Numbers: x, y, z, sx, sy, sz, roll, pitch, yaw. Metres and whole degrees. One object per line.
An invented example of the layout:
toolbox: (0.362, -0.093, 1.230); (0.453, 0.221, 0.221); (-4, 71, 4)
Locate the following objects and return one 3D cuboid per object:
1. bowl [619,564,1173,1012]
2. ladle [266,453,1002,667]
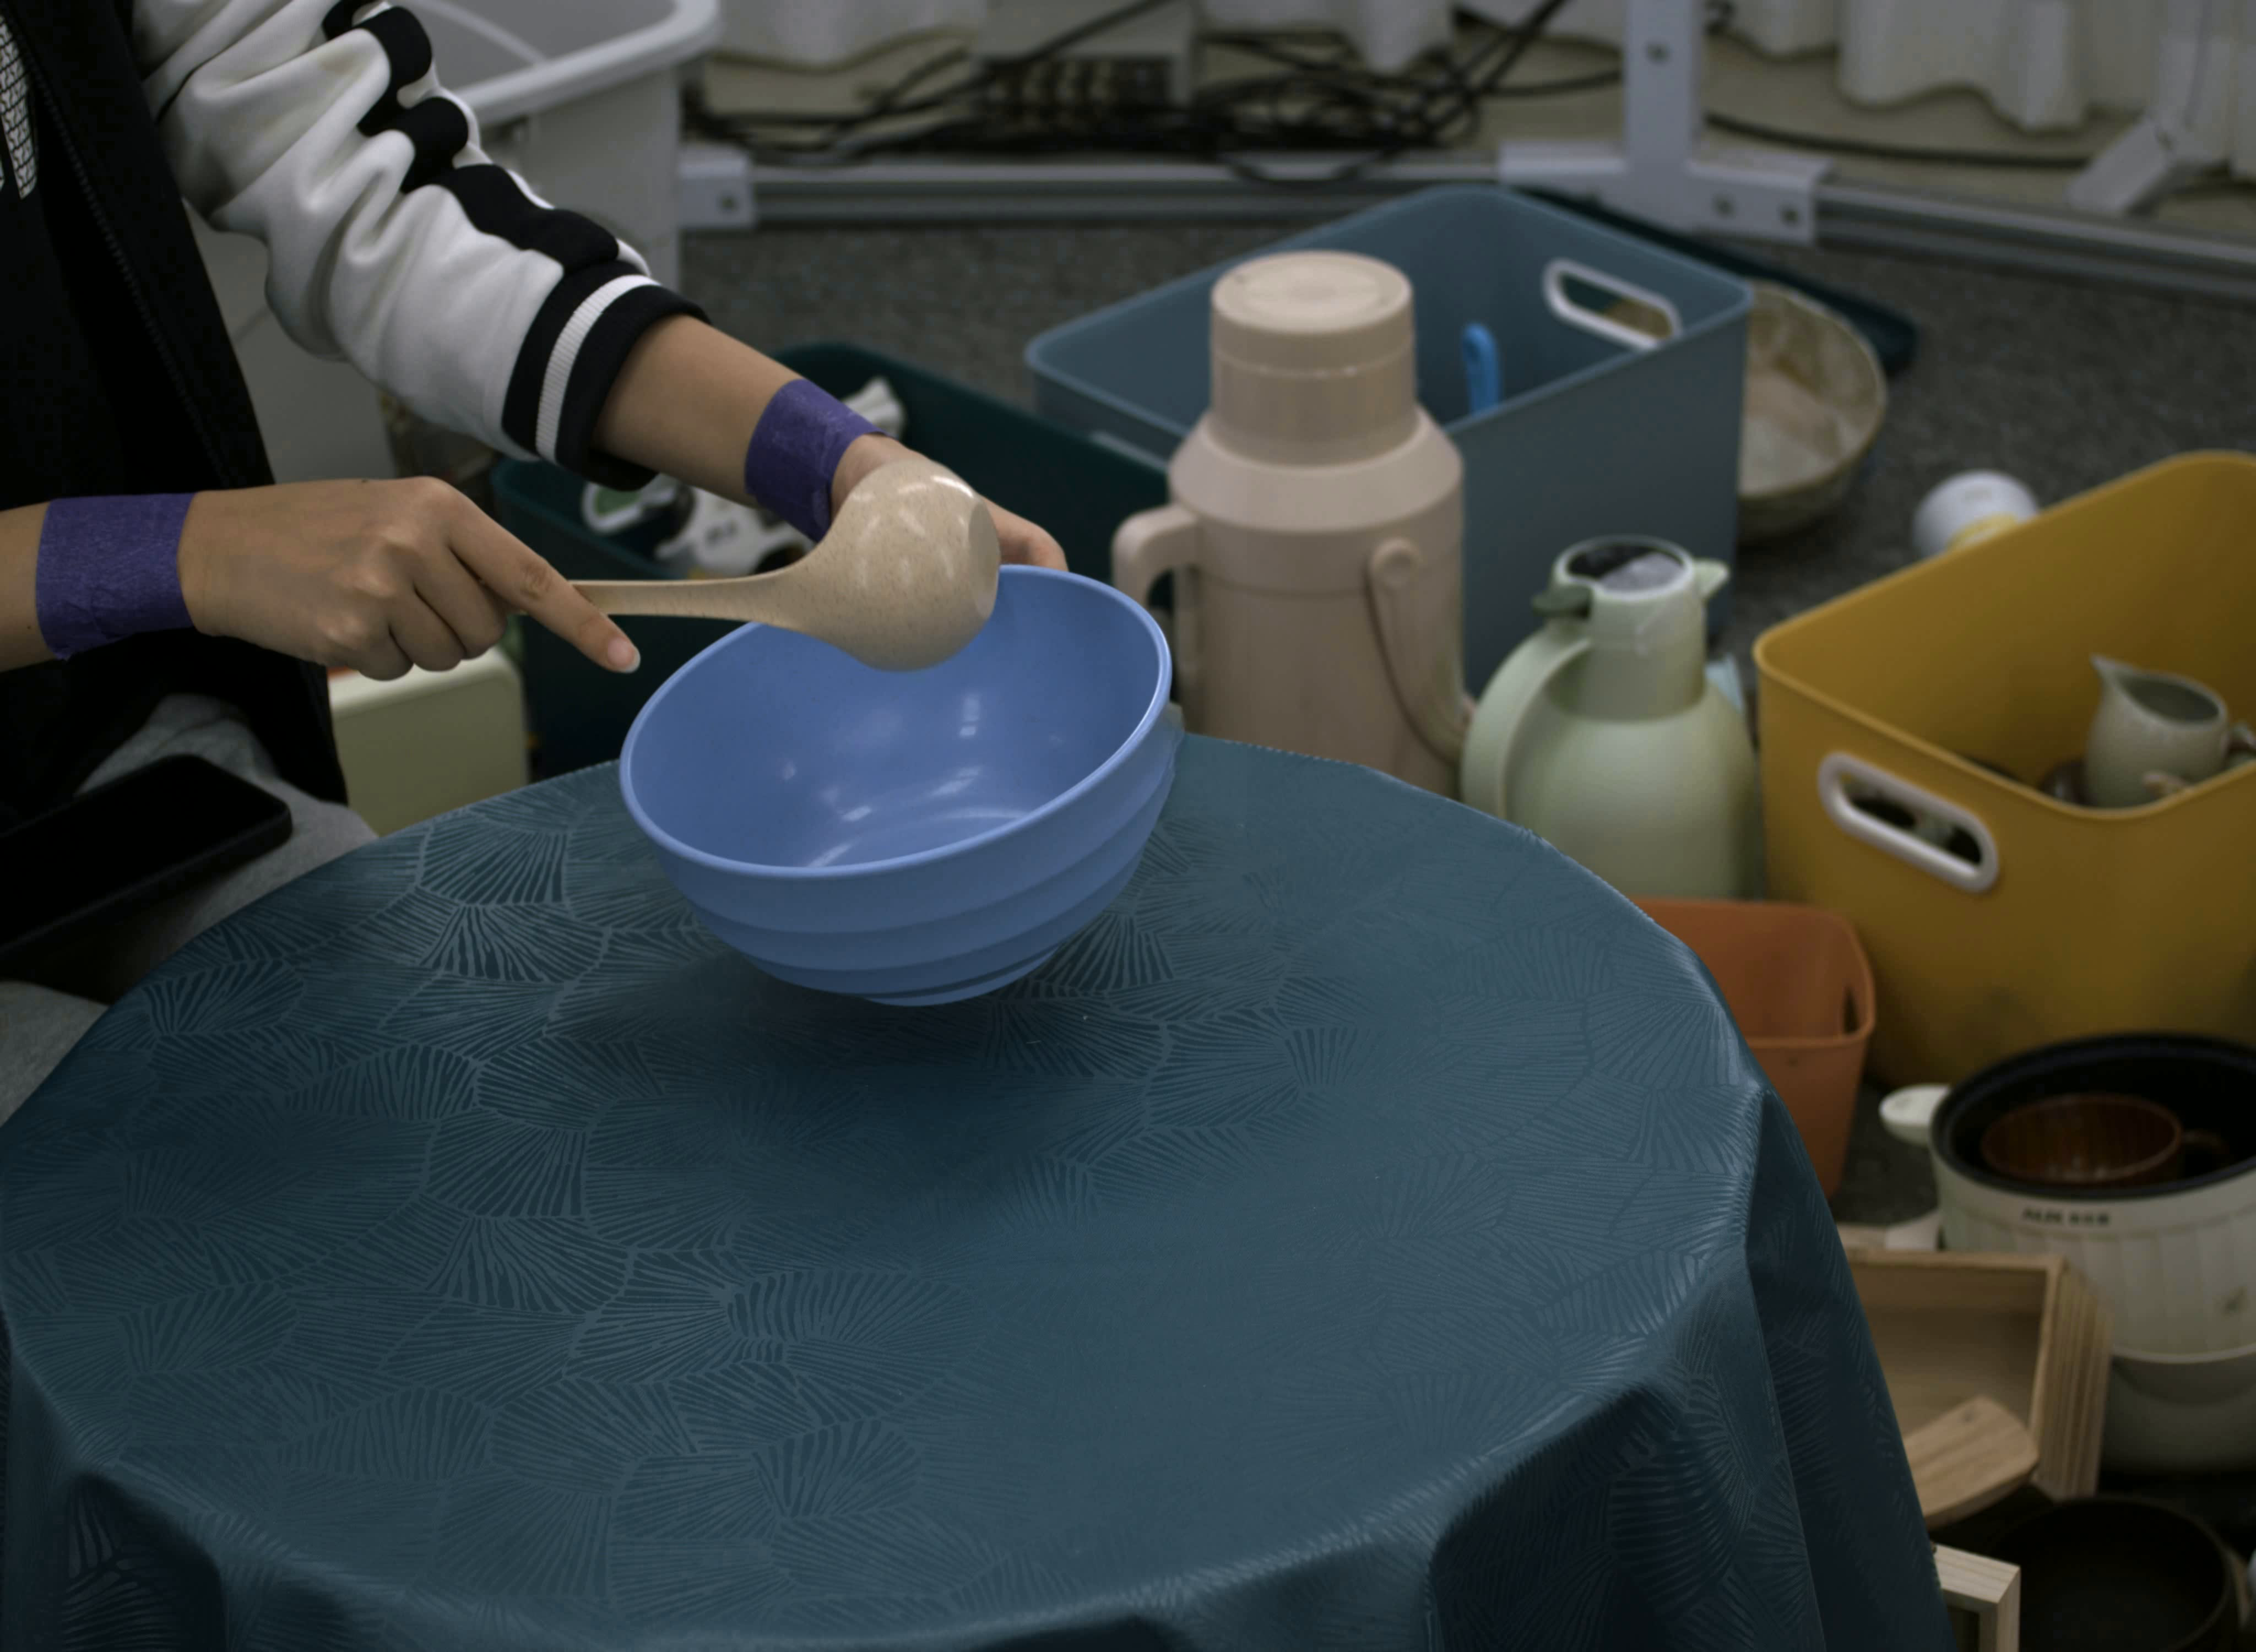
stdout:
bowl: (-0.072, 0.001, 1.962); (0.195, 0.094, 0.200); (-9, 32, 6)
ladle: (-0.167, -0.093, 1.936); (0.252, 0.071, 0.074); (2, 22, 18)
